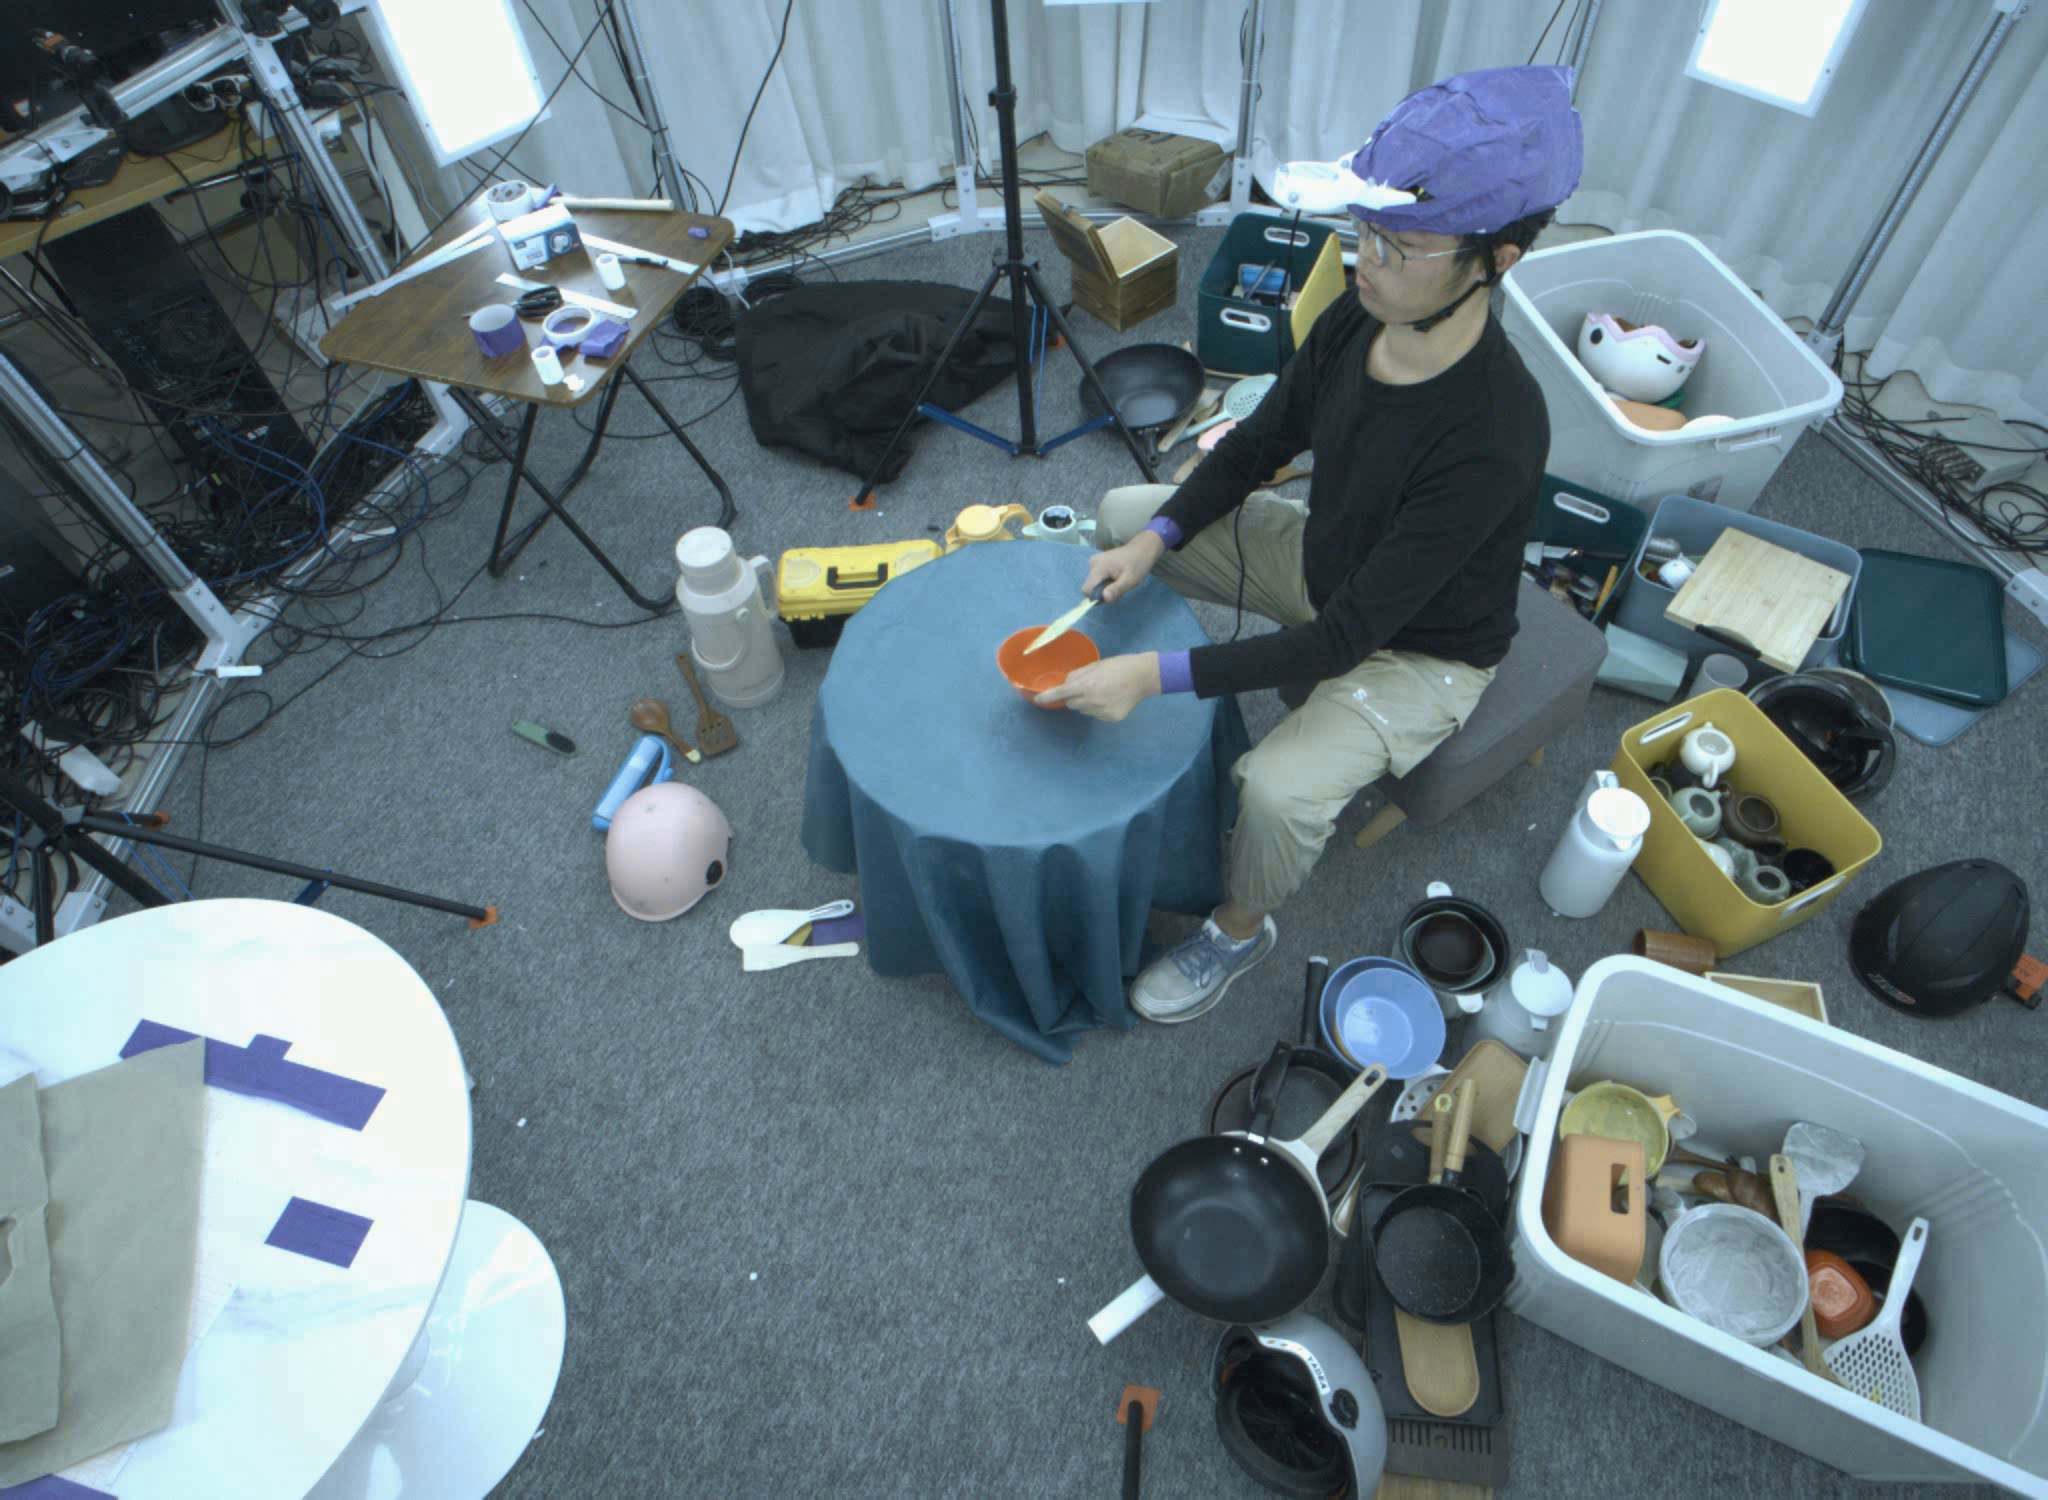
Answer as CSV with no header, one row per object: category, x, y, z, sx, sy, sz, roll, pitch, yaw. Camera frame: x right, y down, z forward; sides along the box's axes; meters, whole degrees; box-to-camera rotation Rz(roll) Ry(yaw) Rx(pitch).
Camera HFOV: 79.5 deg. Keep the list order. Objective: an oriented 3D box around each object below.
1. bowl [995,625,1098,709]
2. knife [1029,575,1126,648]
bowl,0.035,-0.109,1.797,0.148,0.106,0.146,-1,53,3
knife,0.082,-0.203,1.810,0.080,0.027,0.291,-17,16,35
